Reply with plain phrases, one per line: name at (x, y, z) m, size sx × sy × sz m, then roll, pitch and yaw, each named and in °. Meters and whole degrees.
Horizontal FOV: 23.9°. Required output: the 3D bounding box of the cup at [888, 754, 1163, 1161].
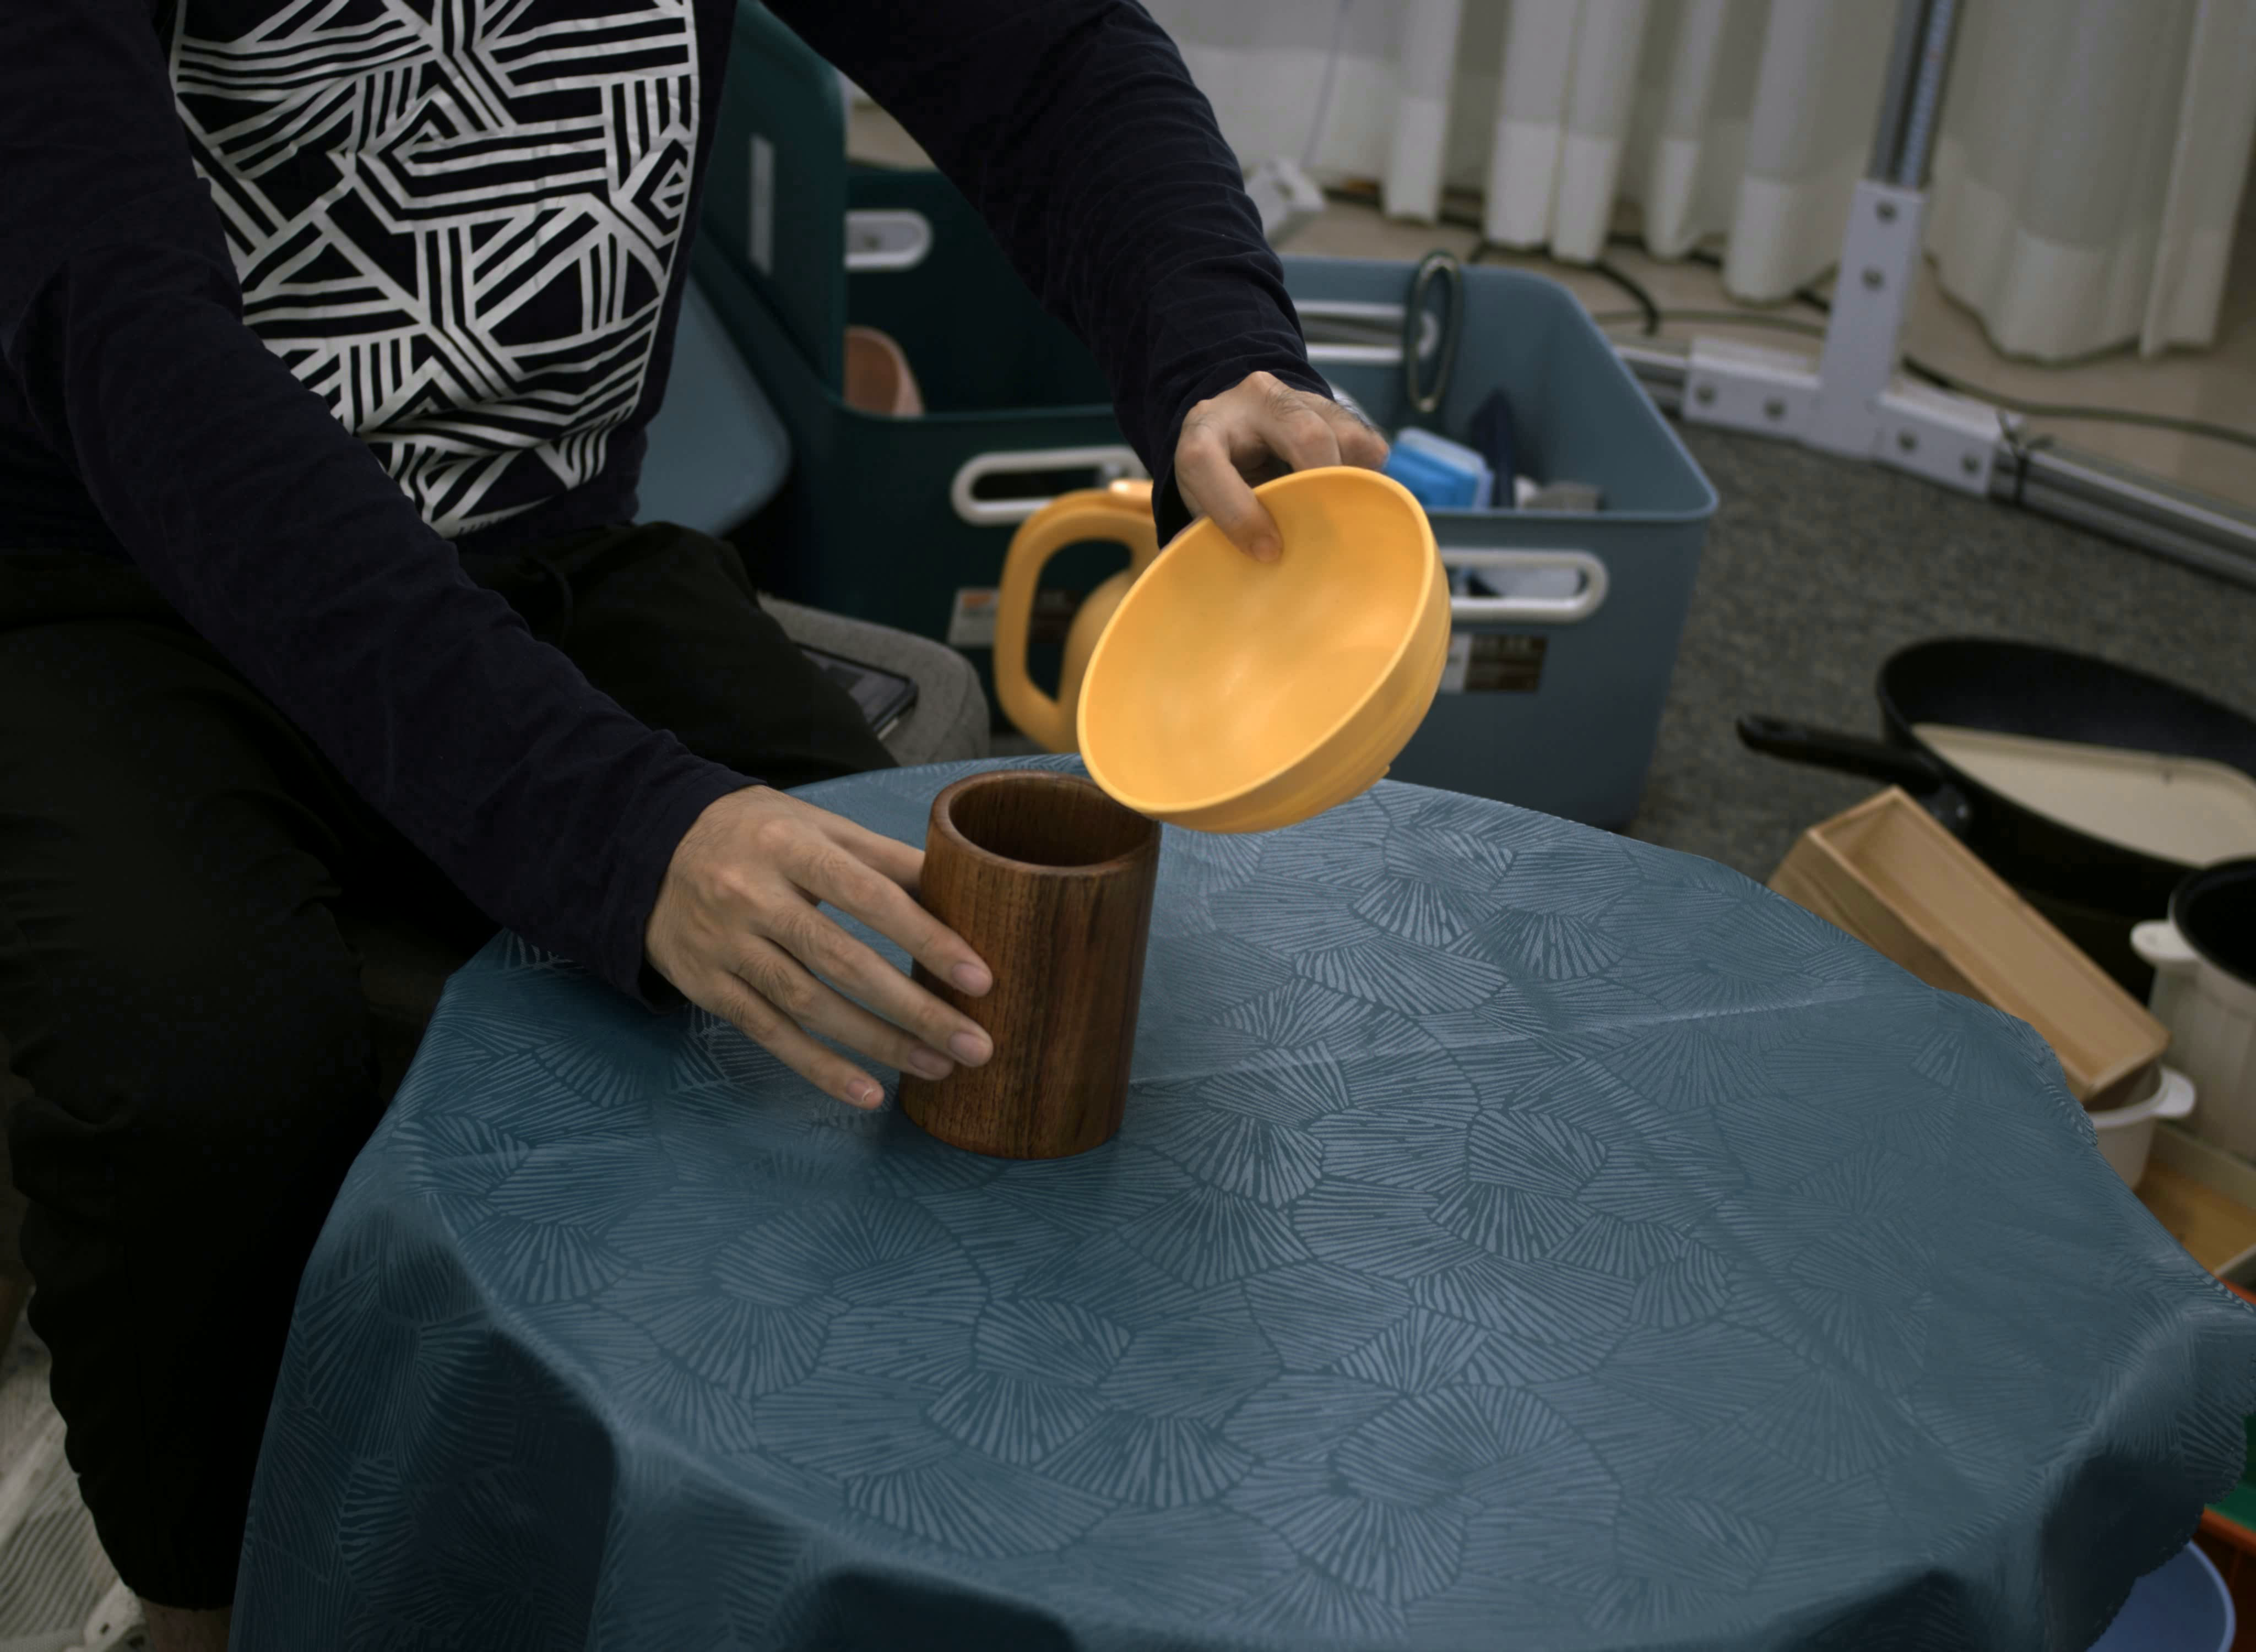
cup at (-0.037, 0.044, 1.824) m, size 0.087 × 0.118 × 0.088 m, roll 8°, pitch 25°, yaw -4°

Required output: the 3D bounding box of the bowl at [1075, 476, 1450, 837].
bowl at (0.057, -0.046, 1.820) m, size 0.145 × 0.059 × 0.146 m, roll -26°, pitch 38°, yaw 22°
